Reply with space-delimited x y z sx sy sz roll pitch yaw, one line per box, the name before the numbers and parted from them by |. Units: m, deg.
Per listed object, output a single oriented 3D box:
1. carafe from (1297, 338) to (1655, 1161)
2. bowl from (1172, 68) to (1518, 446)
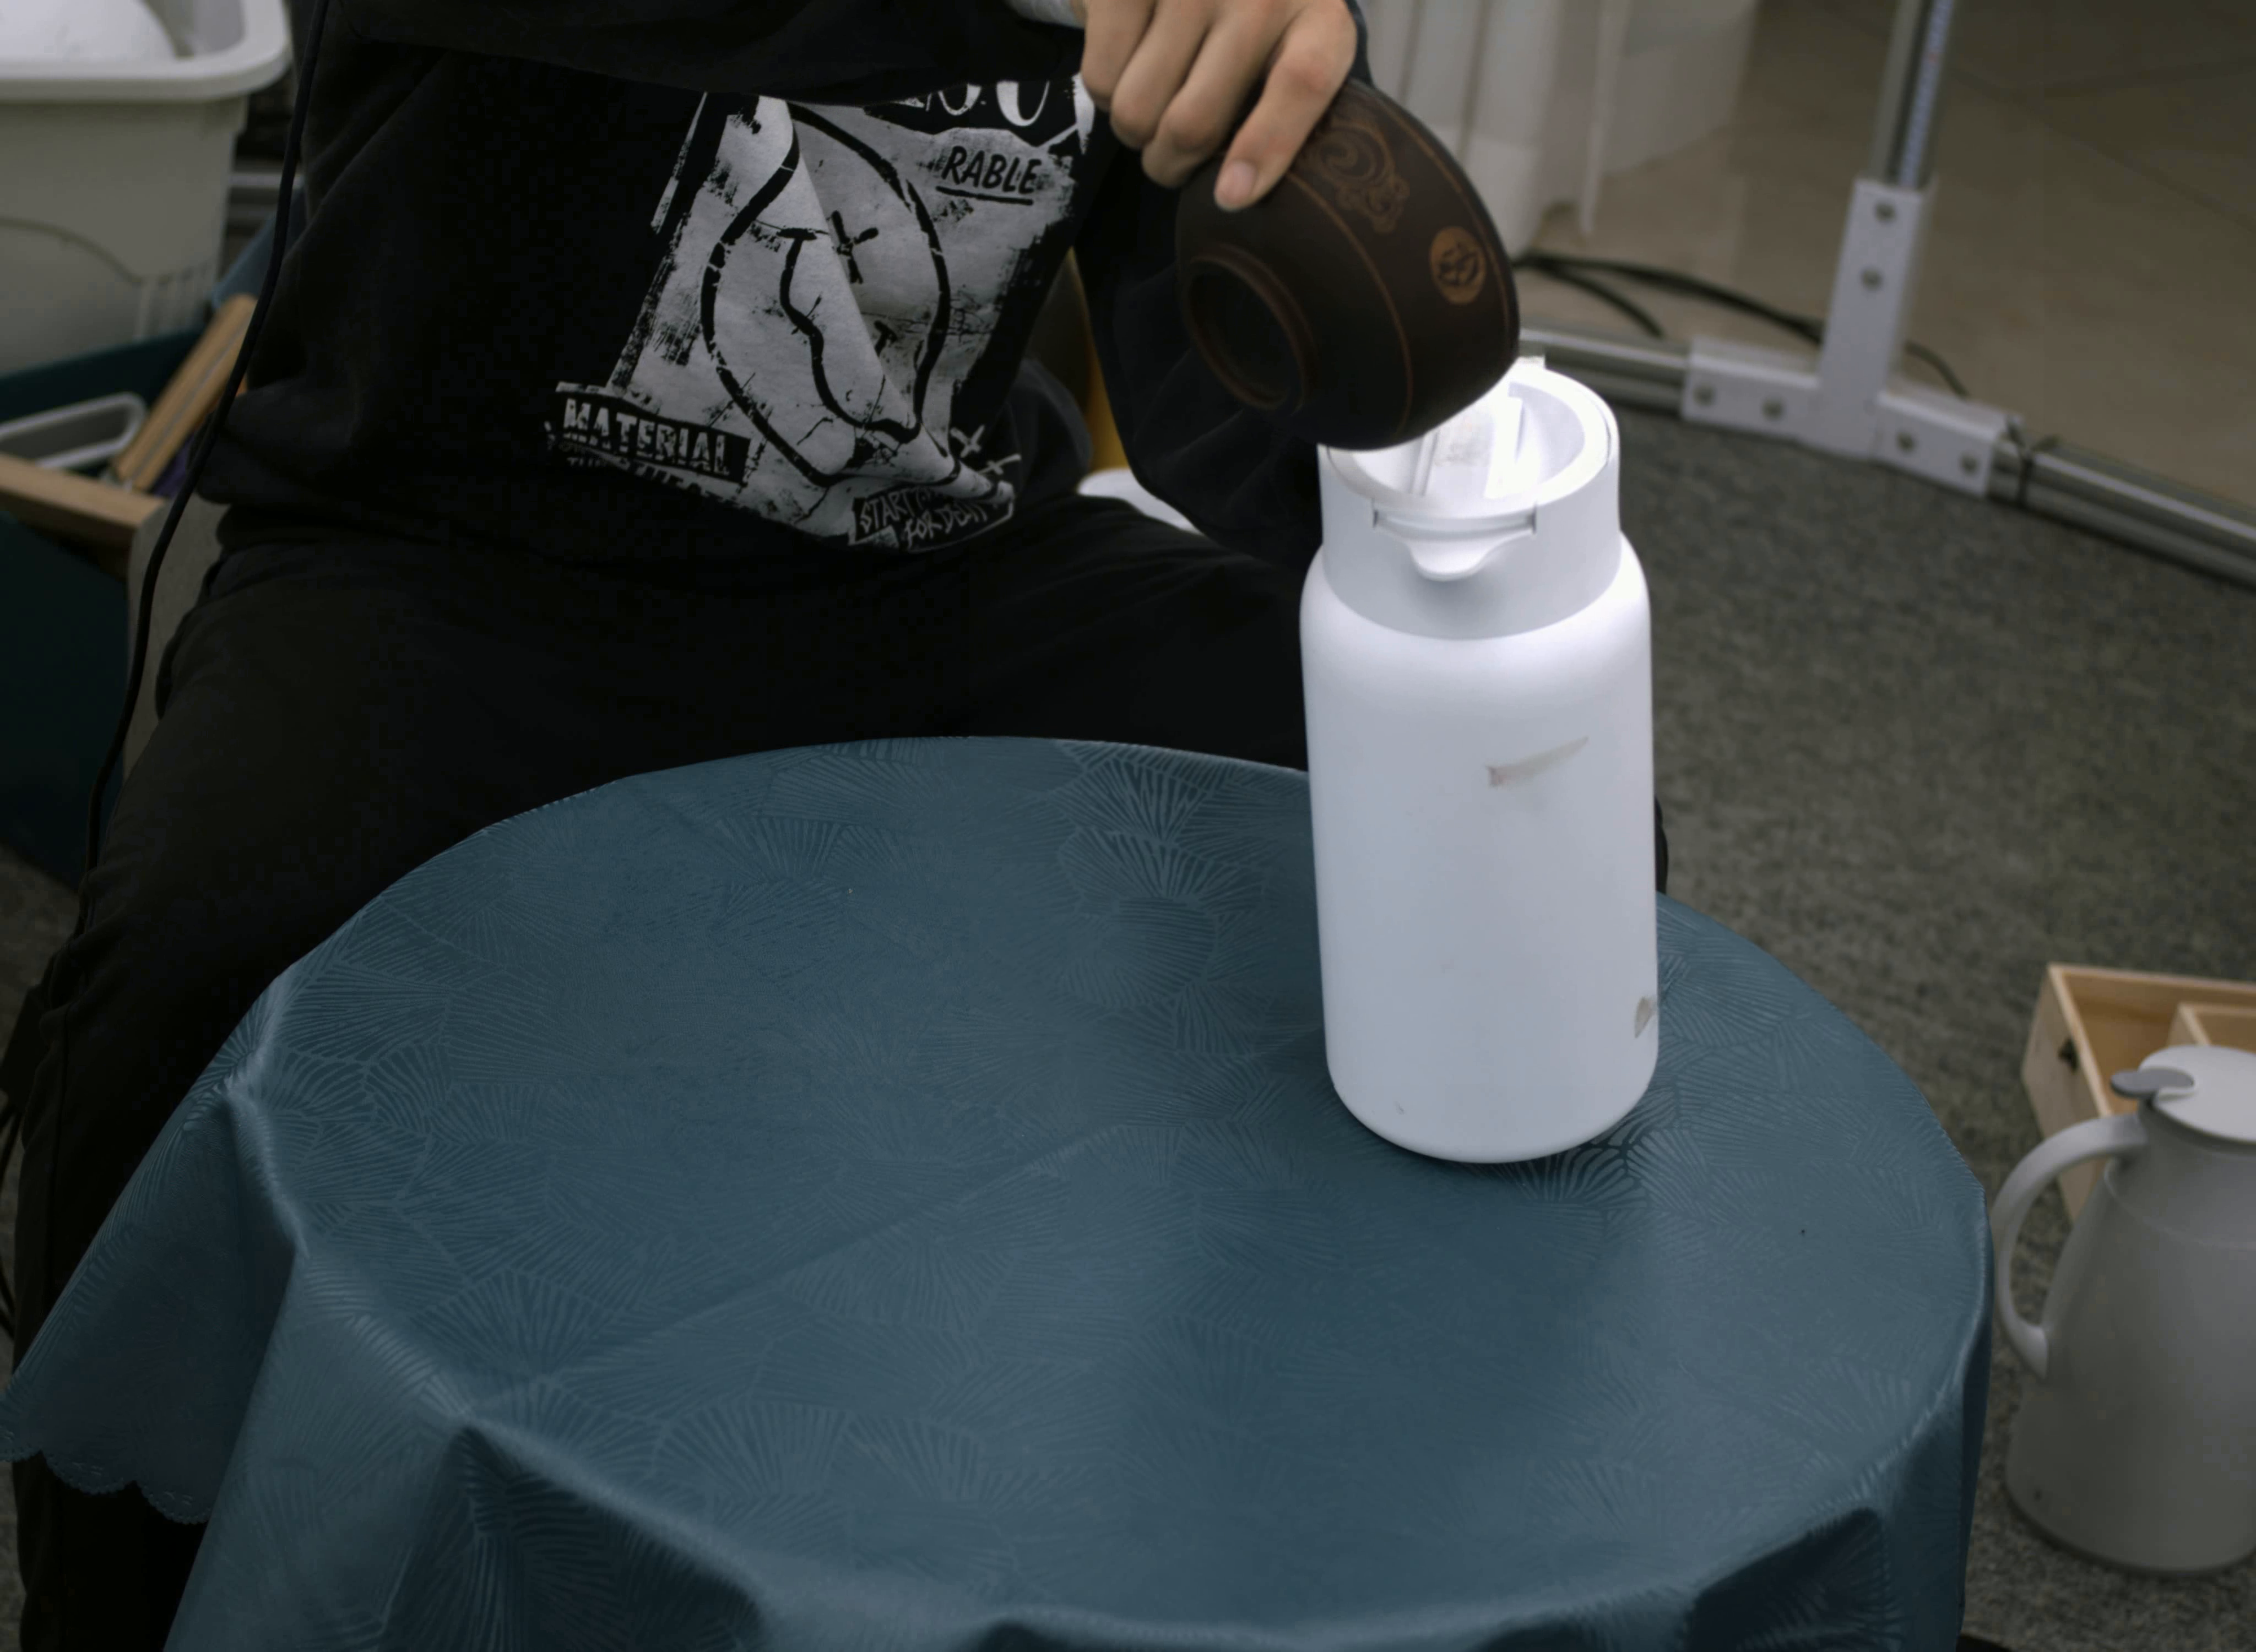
carafe | 0.120 -0.031 1.822 0.124 0.267 0.174 -1 35 10
bowl | 0.058 -0.171 1.668 0.070 0.117 0.119 -36 45 -25
